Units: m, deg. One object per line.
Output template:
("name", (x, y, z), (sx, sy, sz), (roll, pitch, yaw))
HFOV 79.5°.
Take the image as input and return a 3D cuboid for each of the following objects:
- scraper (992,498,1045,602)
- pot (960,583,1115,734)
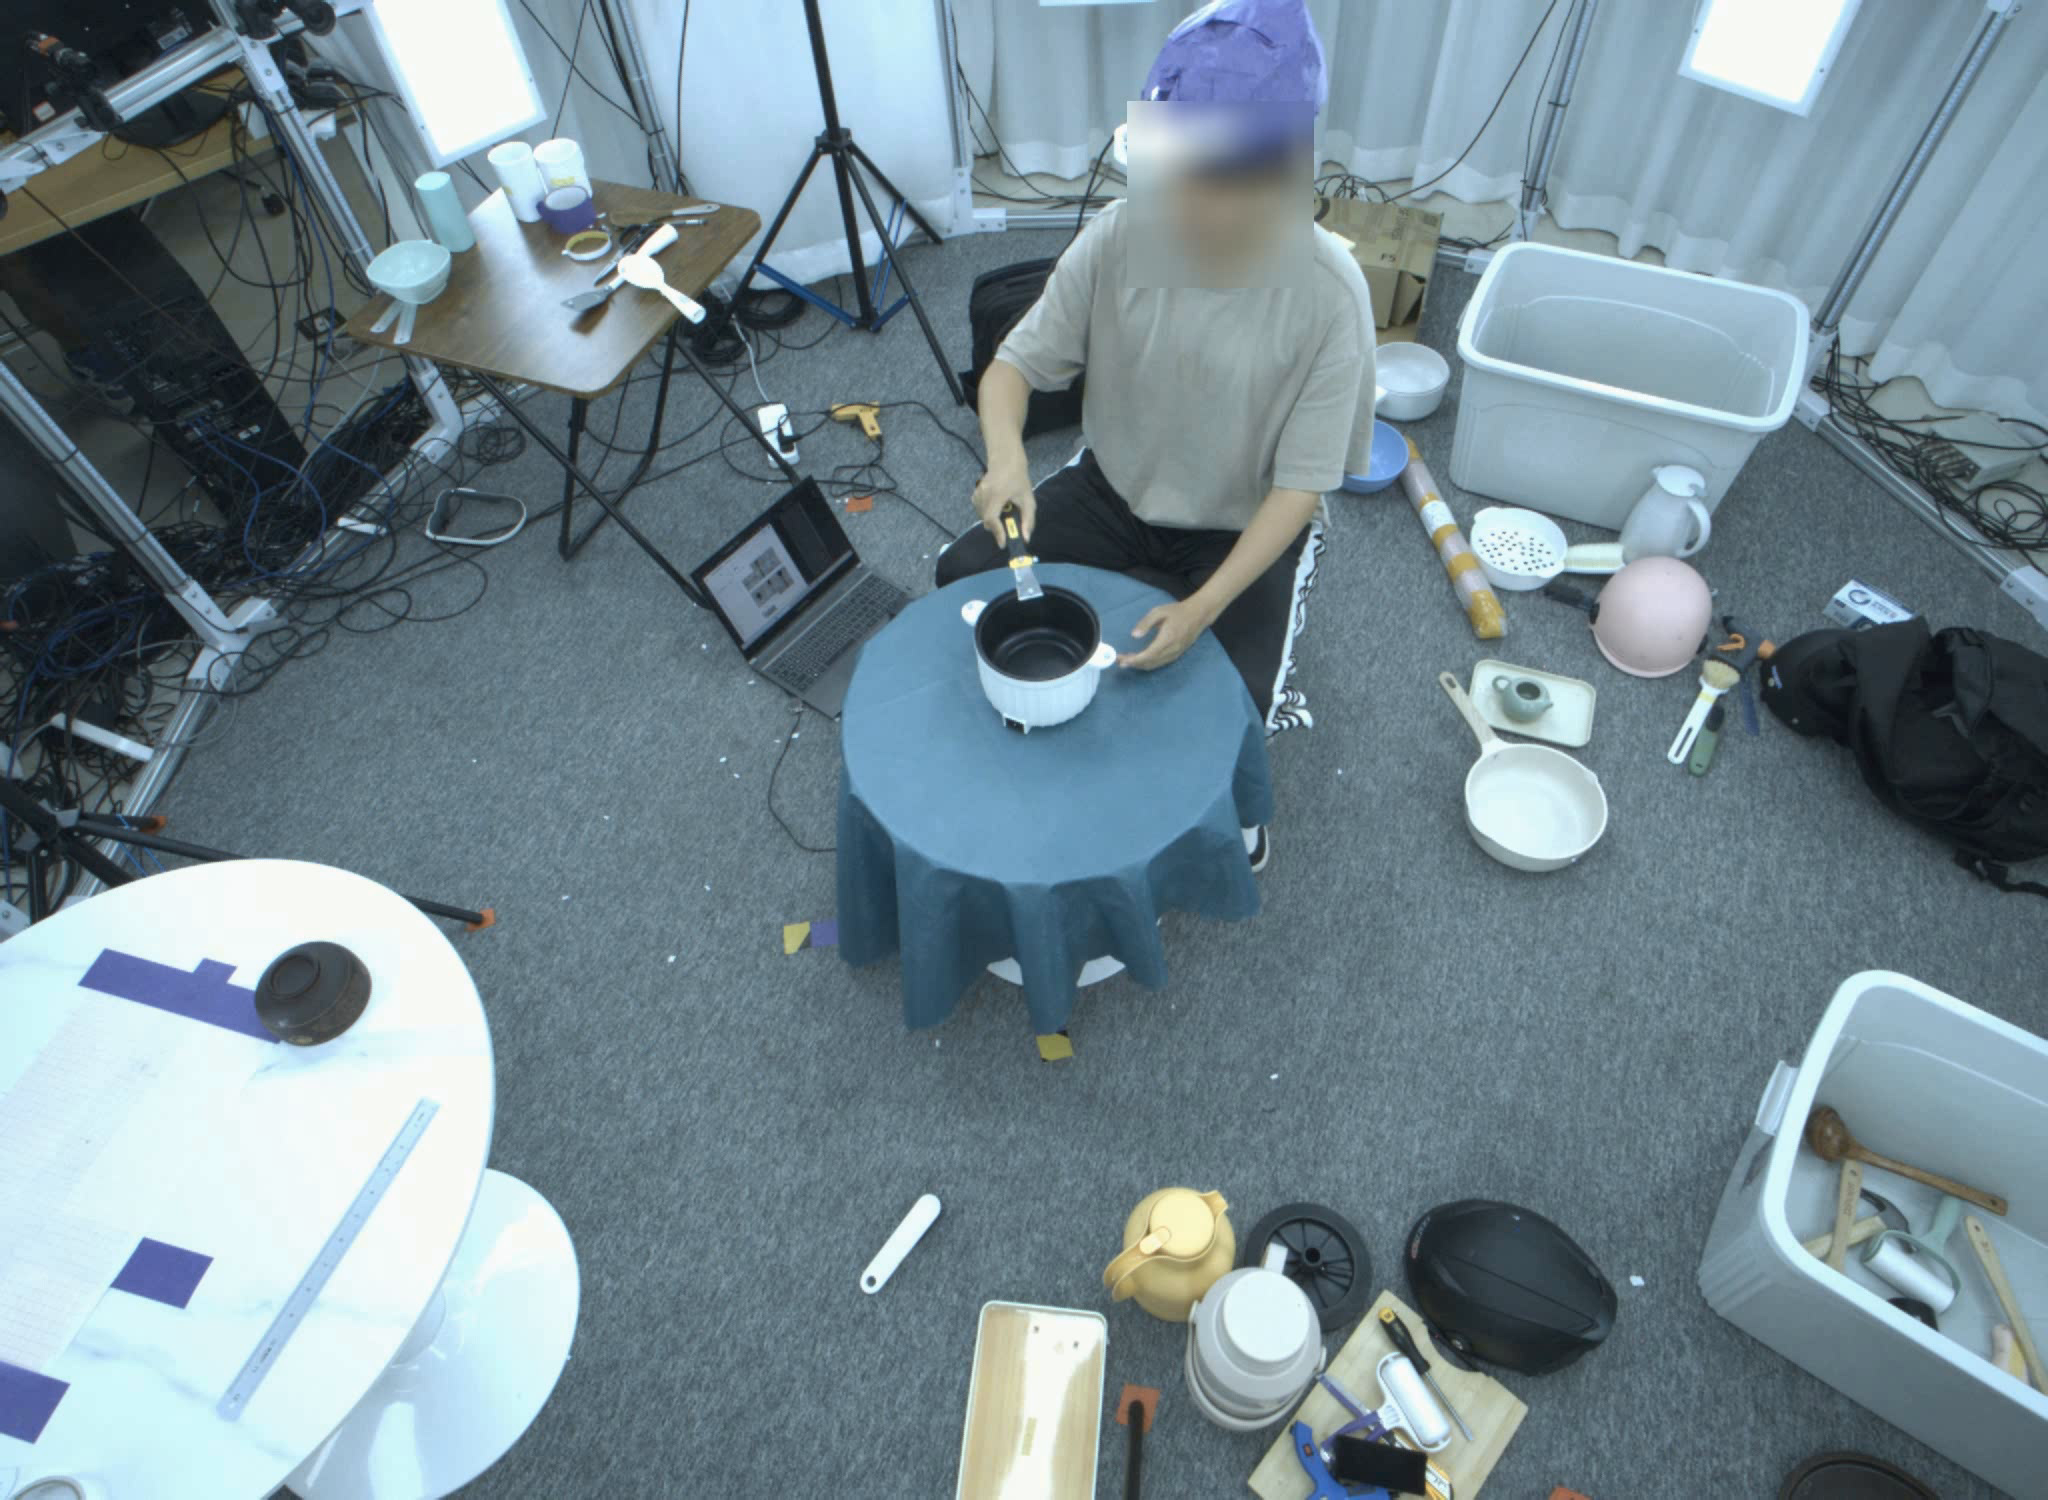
("scraper", (-0.012, -0.280, 1.699), (0.039, 0.015, 0.169), (-17, 69, 0))
("pot", (0.023, -0.135, 1.793), (0.237, 0.144, 0.190), (21, 63, 16))
